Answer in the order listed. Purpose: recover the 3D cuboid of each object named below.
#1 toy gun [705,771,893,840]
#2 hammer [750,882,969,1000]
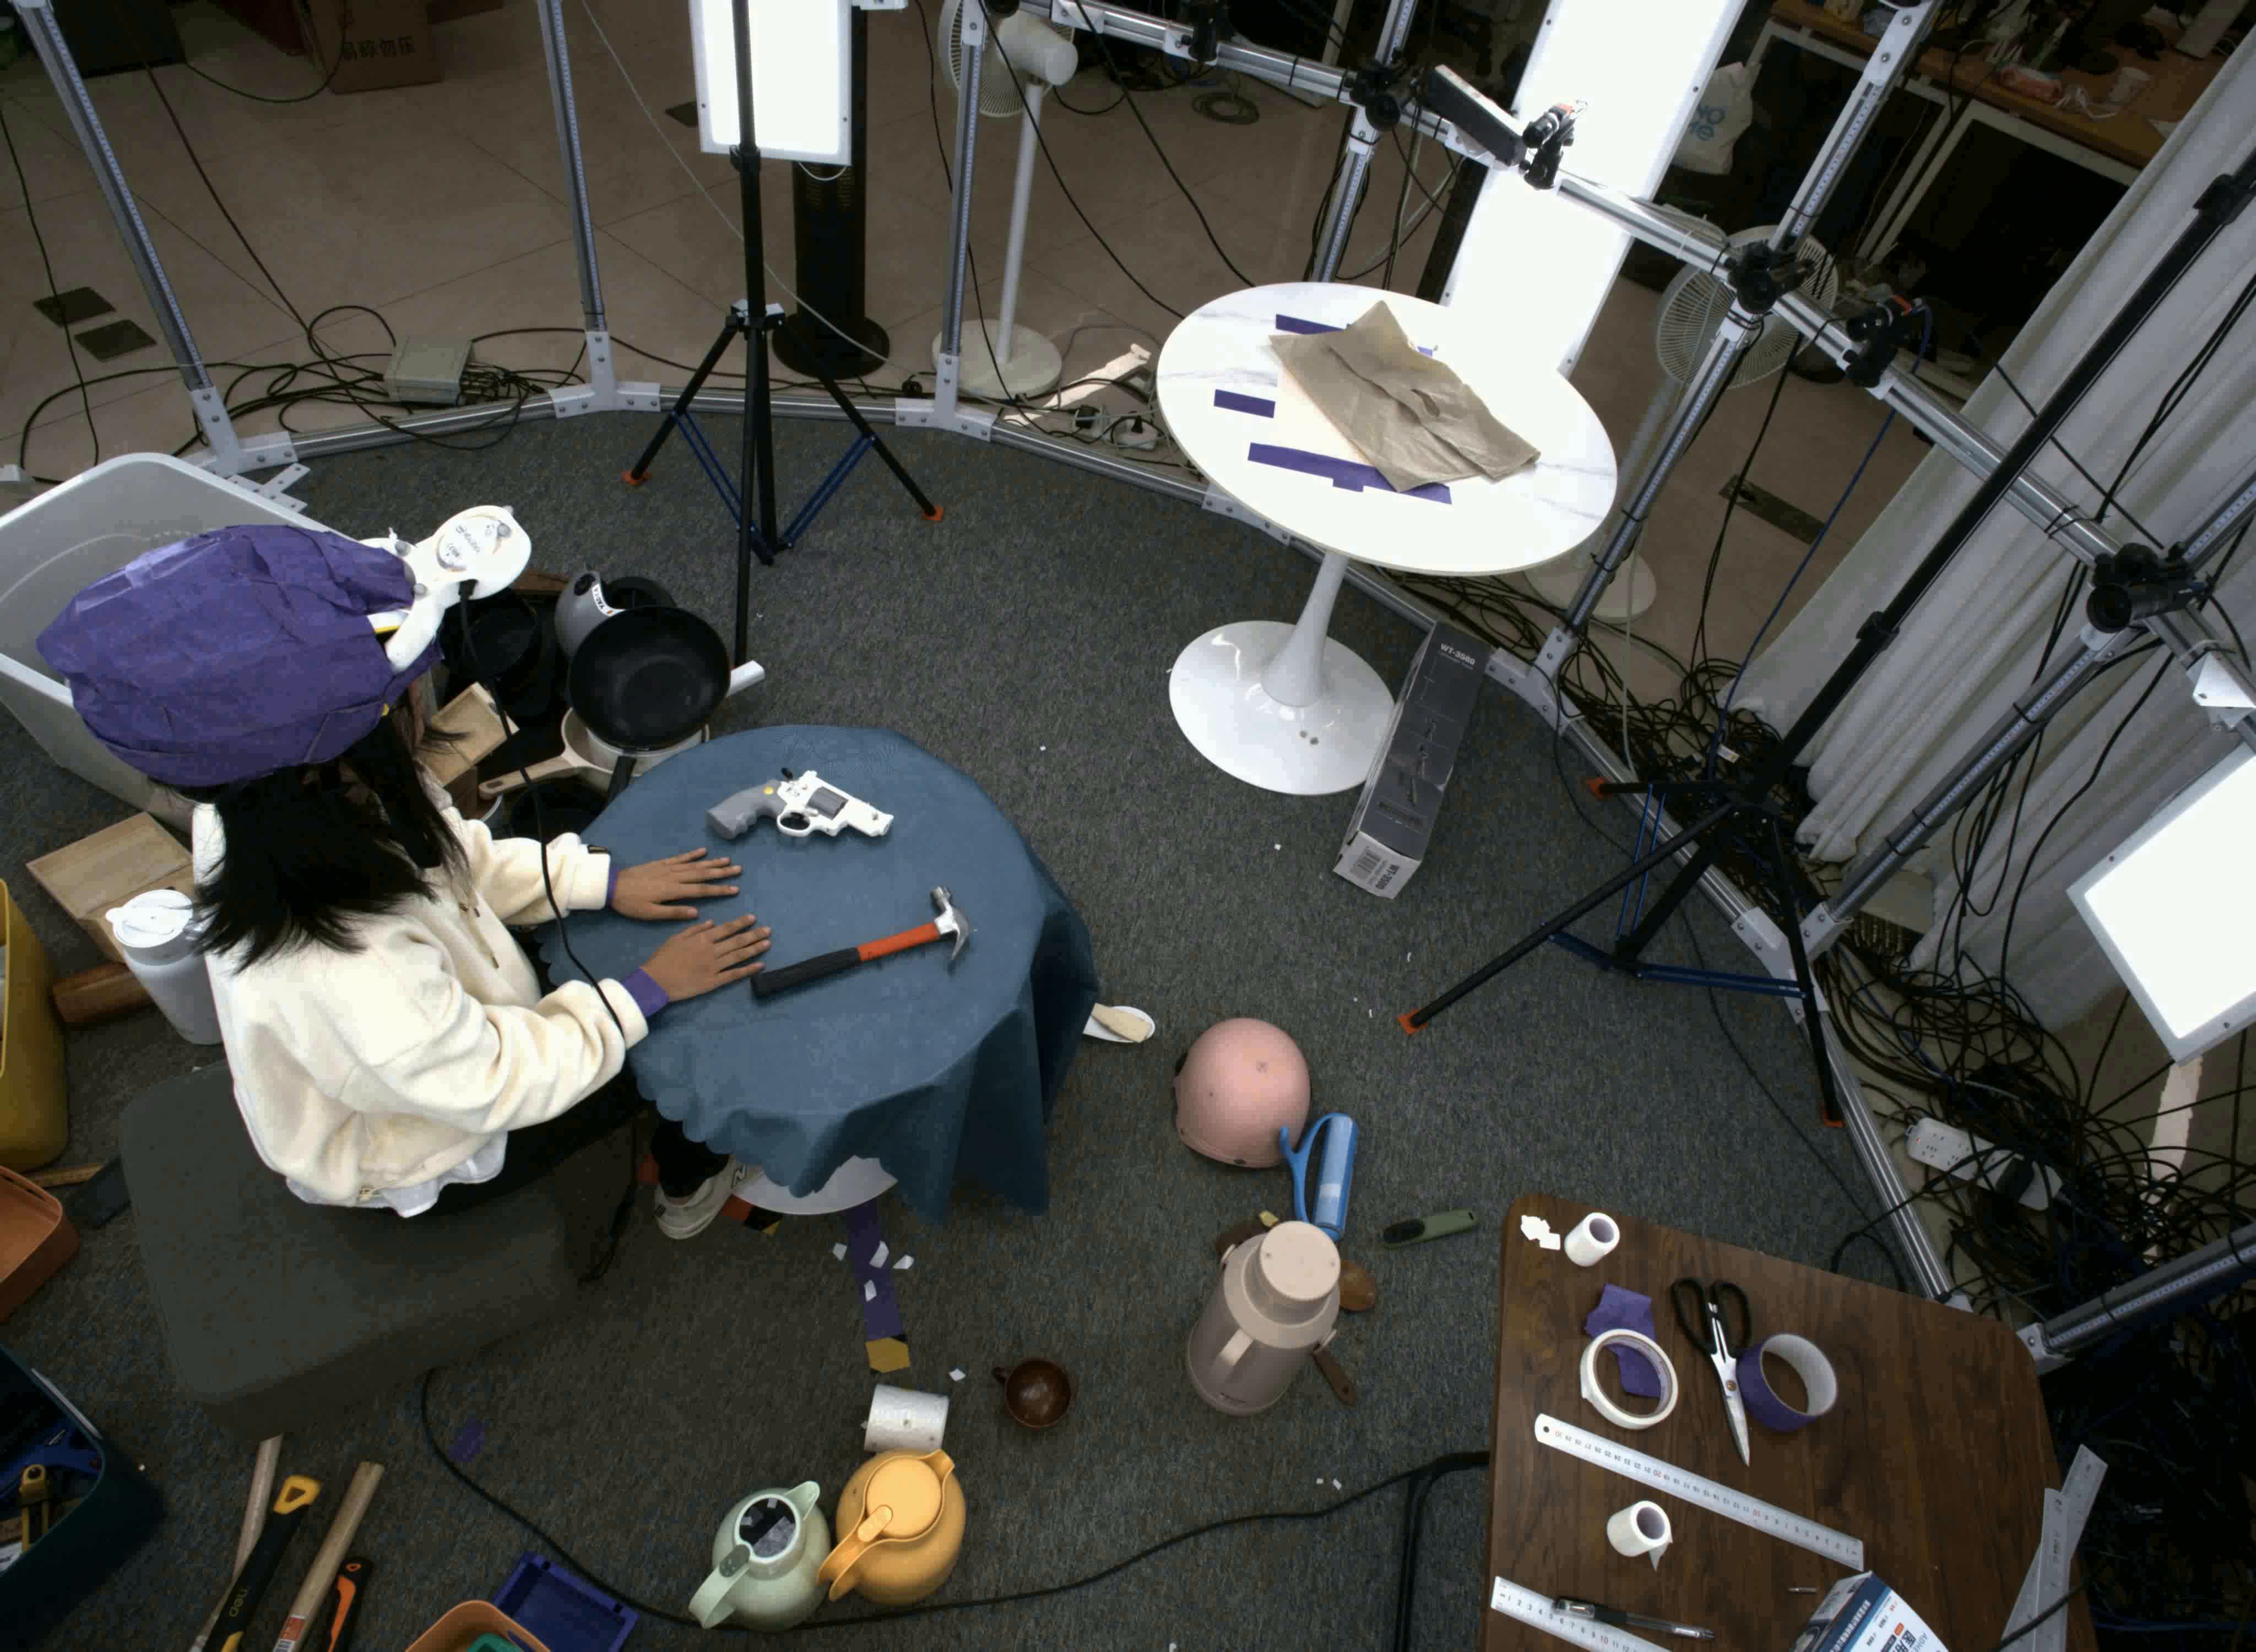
[{"bbox_3d":[-0.432,-0.012,1.701,0.206,0.039,0.140,25,50,4],"label":"toy gun"},{"bbox_3d":[-0.328,0.156,1.609,0.279,0.026,0.109,-17,69,-25],"label":"hammer"}]
